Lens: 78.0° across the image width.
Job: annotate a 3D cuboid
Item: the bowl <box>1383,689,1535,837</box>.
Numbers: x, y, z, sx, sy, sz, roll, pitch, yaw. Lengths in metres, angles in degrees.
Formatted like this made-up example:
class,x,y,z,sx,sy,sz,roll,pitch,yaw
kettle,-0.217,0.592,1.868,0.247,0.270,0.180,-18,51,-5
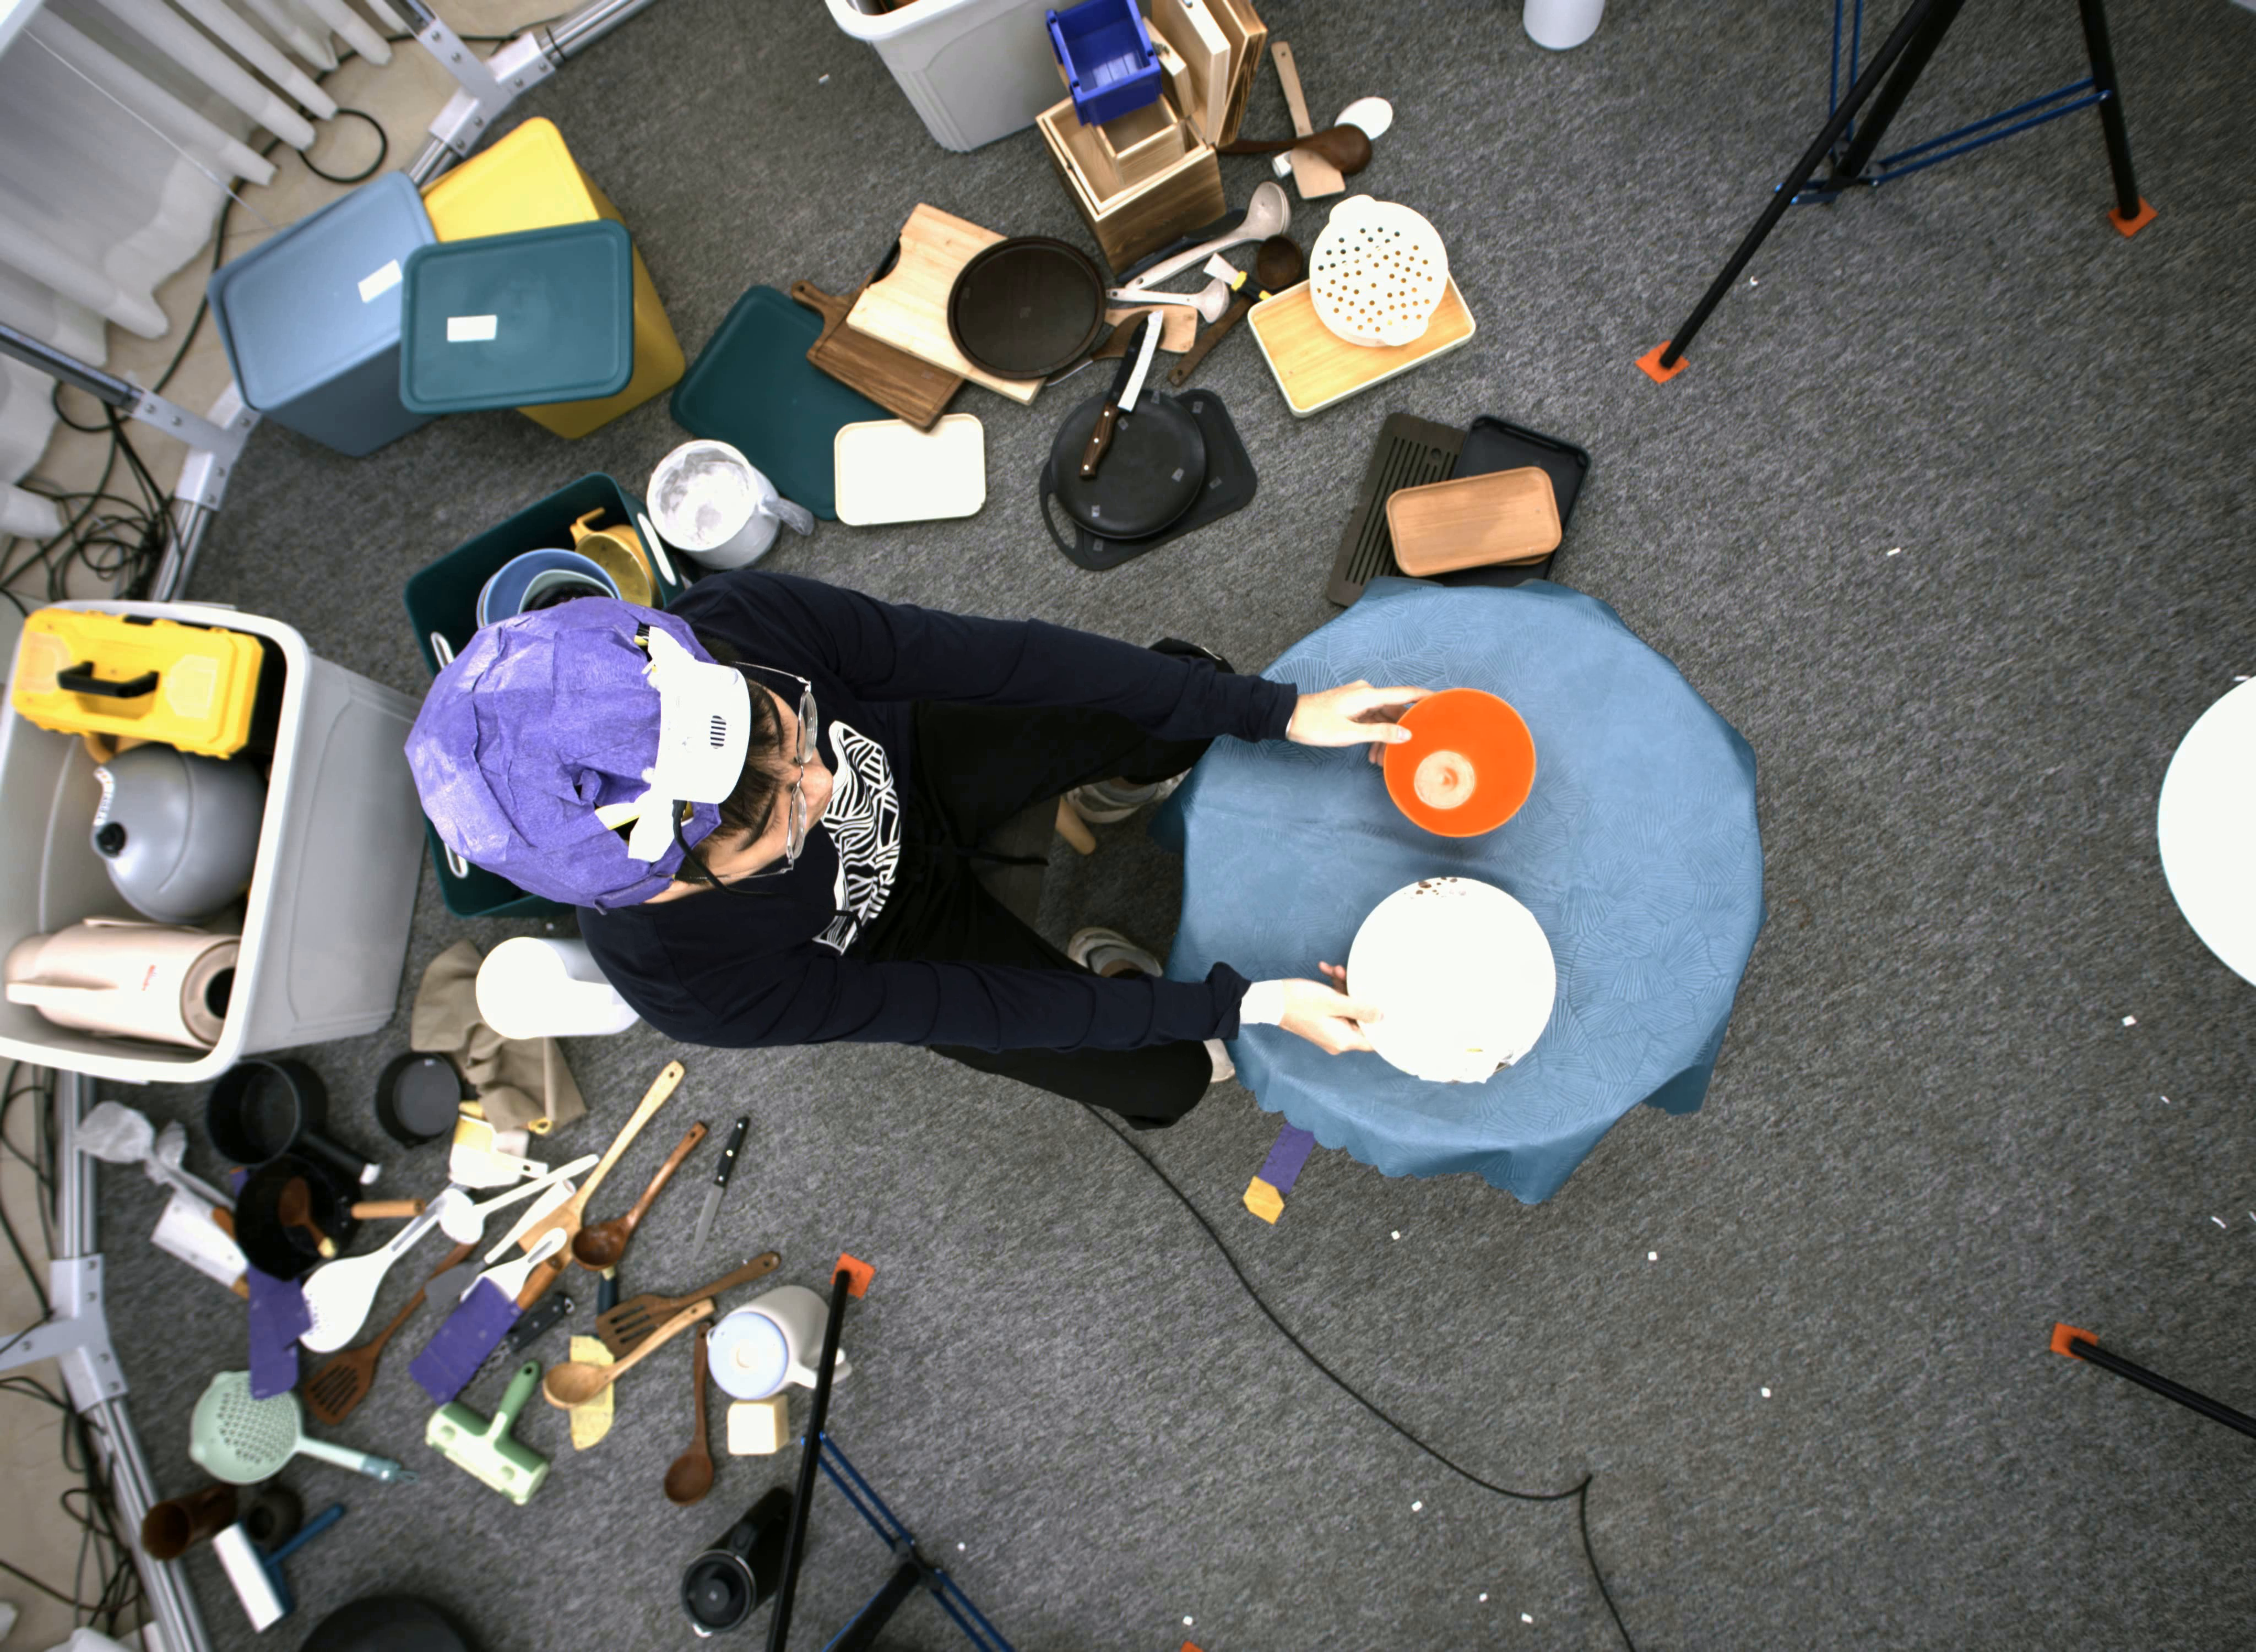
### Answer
class,x,y,z,sx,sy,sz,roll,pitch,yaw
bowl,0.337,-0.060,1.404,0.148,0.104,0.147,-1,86,12

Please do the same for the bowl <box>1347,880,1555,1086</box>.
class,x,y,z,sx,sy,sz,roll,pitch,yaw
bowl,0.327,0.157,1.405,0.205,0.078,0.203,-1,86,12
